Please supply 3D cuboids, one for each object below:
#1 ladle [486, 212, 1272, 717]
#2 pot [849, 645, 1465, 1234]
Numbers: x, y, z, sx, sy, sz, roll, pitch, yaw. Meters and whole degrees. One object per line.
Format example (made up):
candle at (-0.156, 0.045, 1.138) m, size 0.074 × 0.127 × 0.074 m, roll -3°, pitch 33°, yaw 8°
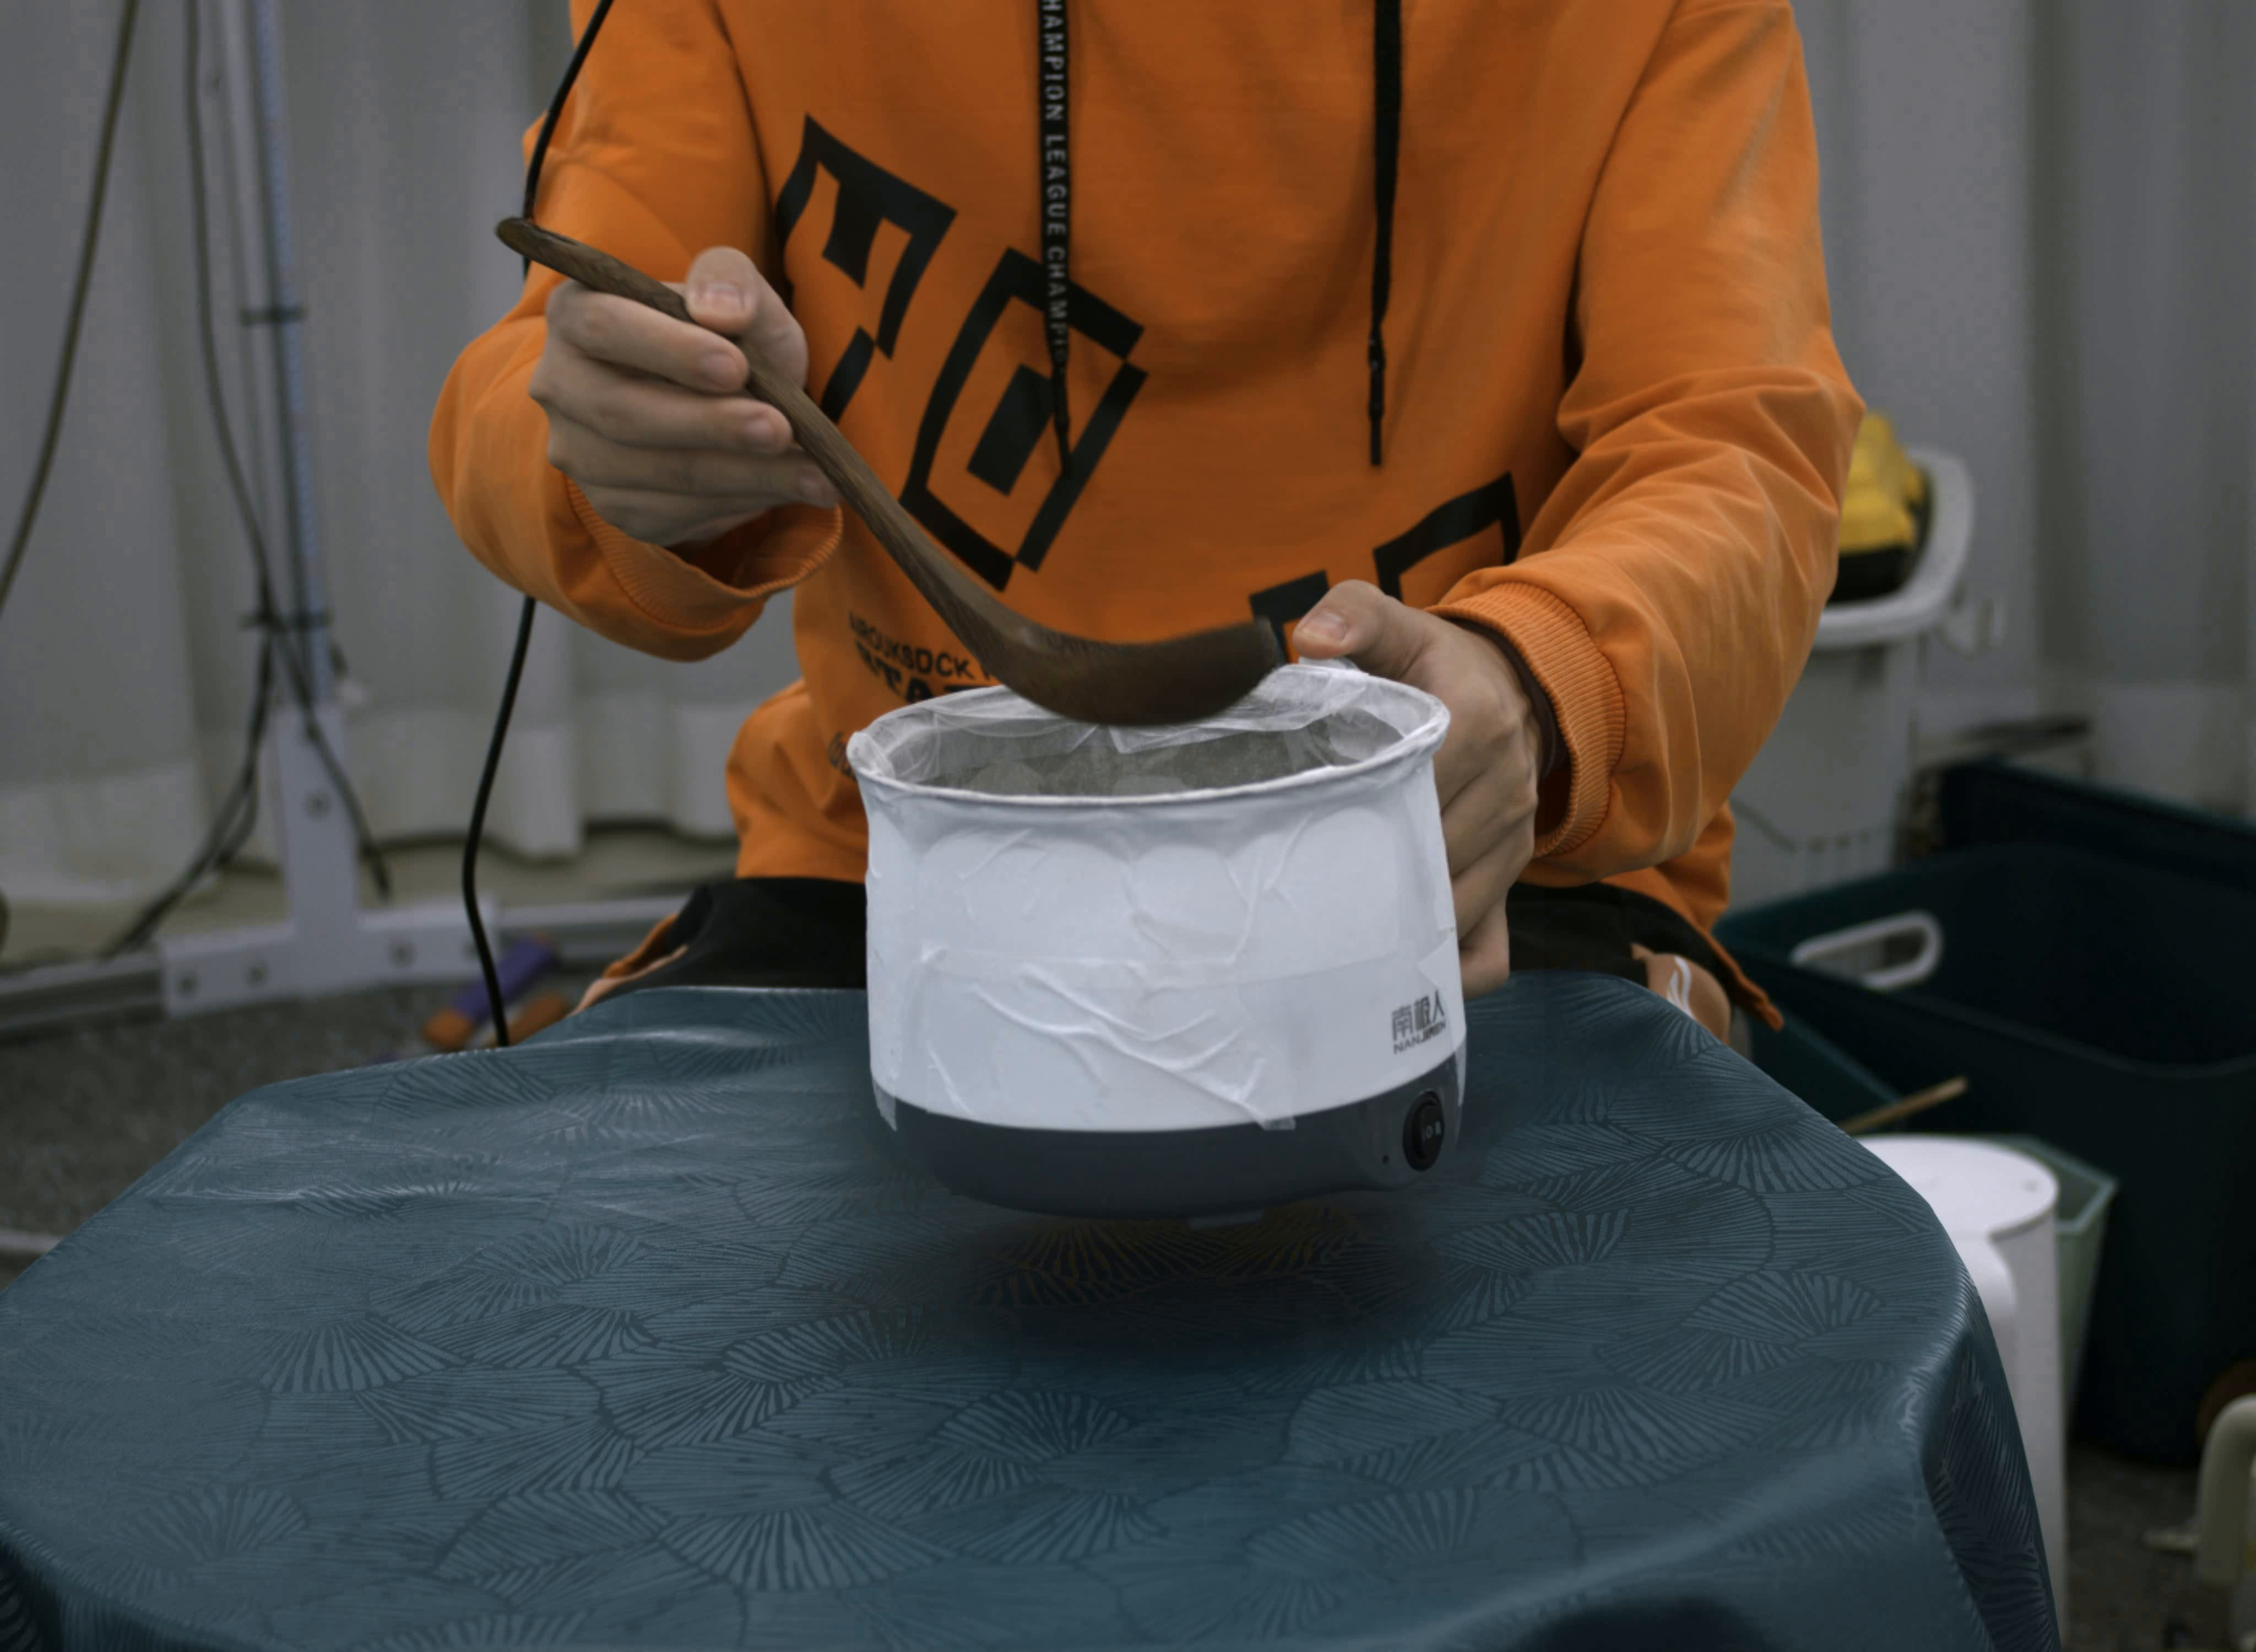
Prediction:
ladle at (-0.074, -0.123, 1.639) m, size 0.276 × 0.071 × 0.076 m, roll 42°, pitch 11°, yaw 15°
pot at (0.024, 0.027, 1.632) m, size 0.179 × 0.136 × 0.234 m, roll 5°, pitch 16°, yaw 31°
